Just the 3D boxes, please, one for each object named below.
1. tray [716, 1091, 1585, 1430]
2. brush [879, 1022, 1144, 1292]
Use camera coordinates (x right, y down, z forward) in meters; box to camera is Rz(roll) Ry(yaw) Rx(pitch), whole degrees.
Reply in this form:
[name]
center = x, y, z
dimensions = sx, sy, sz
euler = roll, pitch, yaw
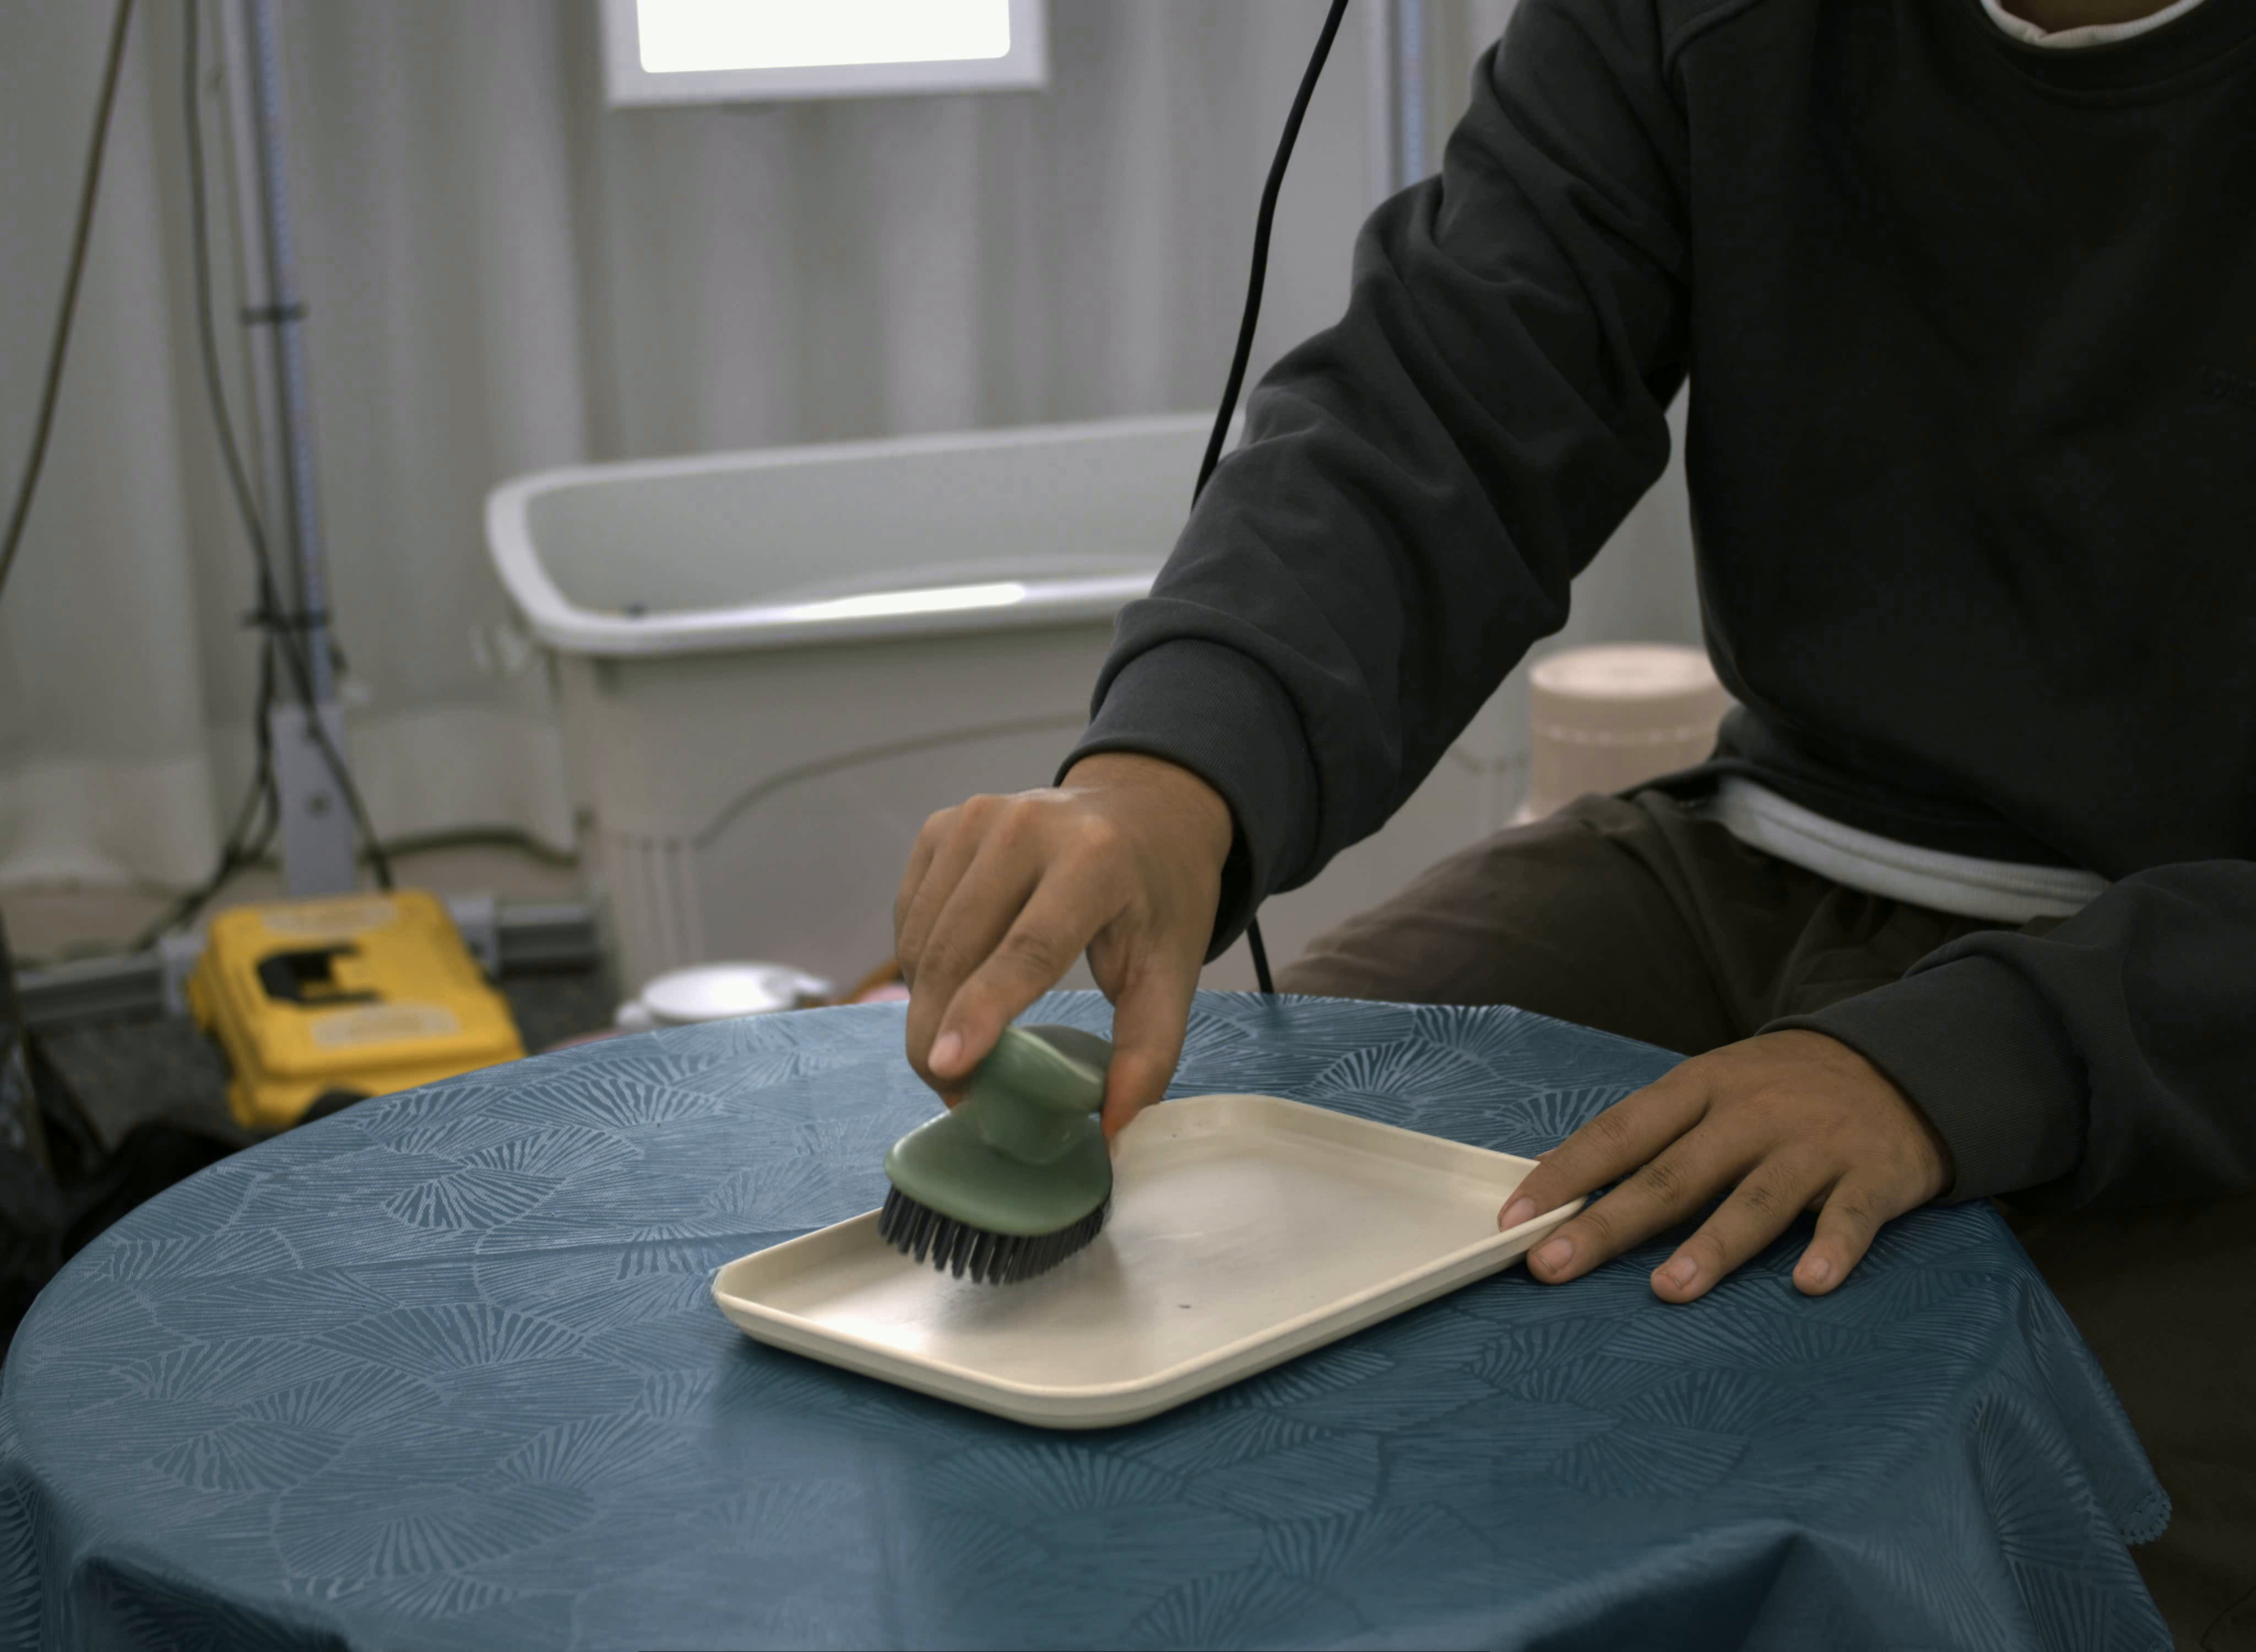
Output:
[tray]
center = 0.009, 0.128, 1.630
dimensions = 0.172, 0.017, 0.239
euler = 12, 21, 42
[brush]
center = -0.033, 0.097, 1.627
dimensions = 0.060, 0.076, 0.122
euler = 23, 2, 14
